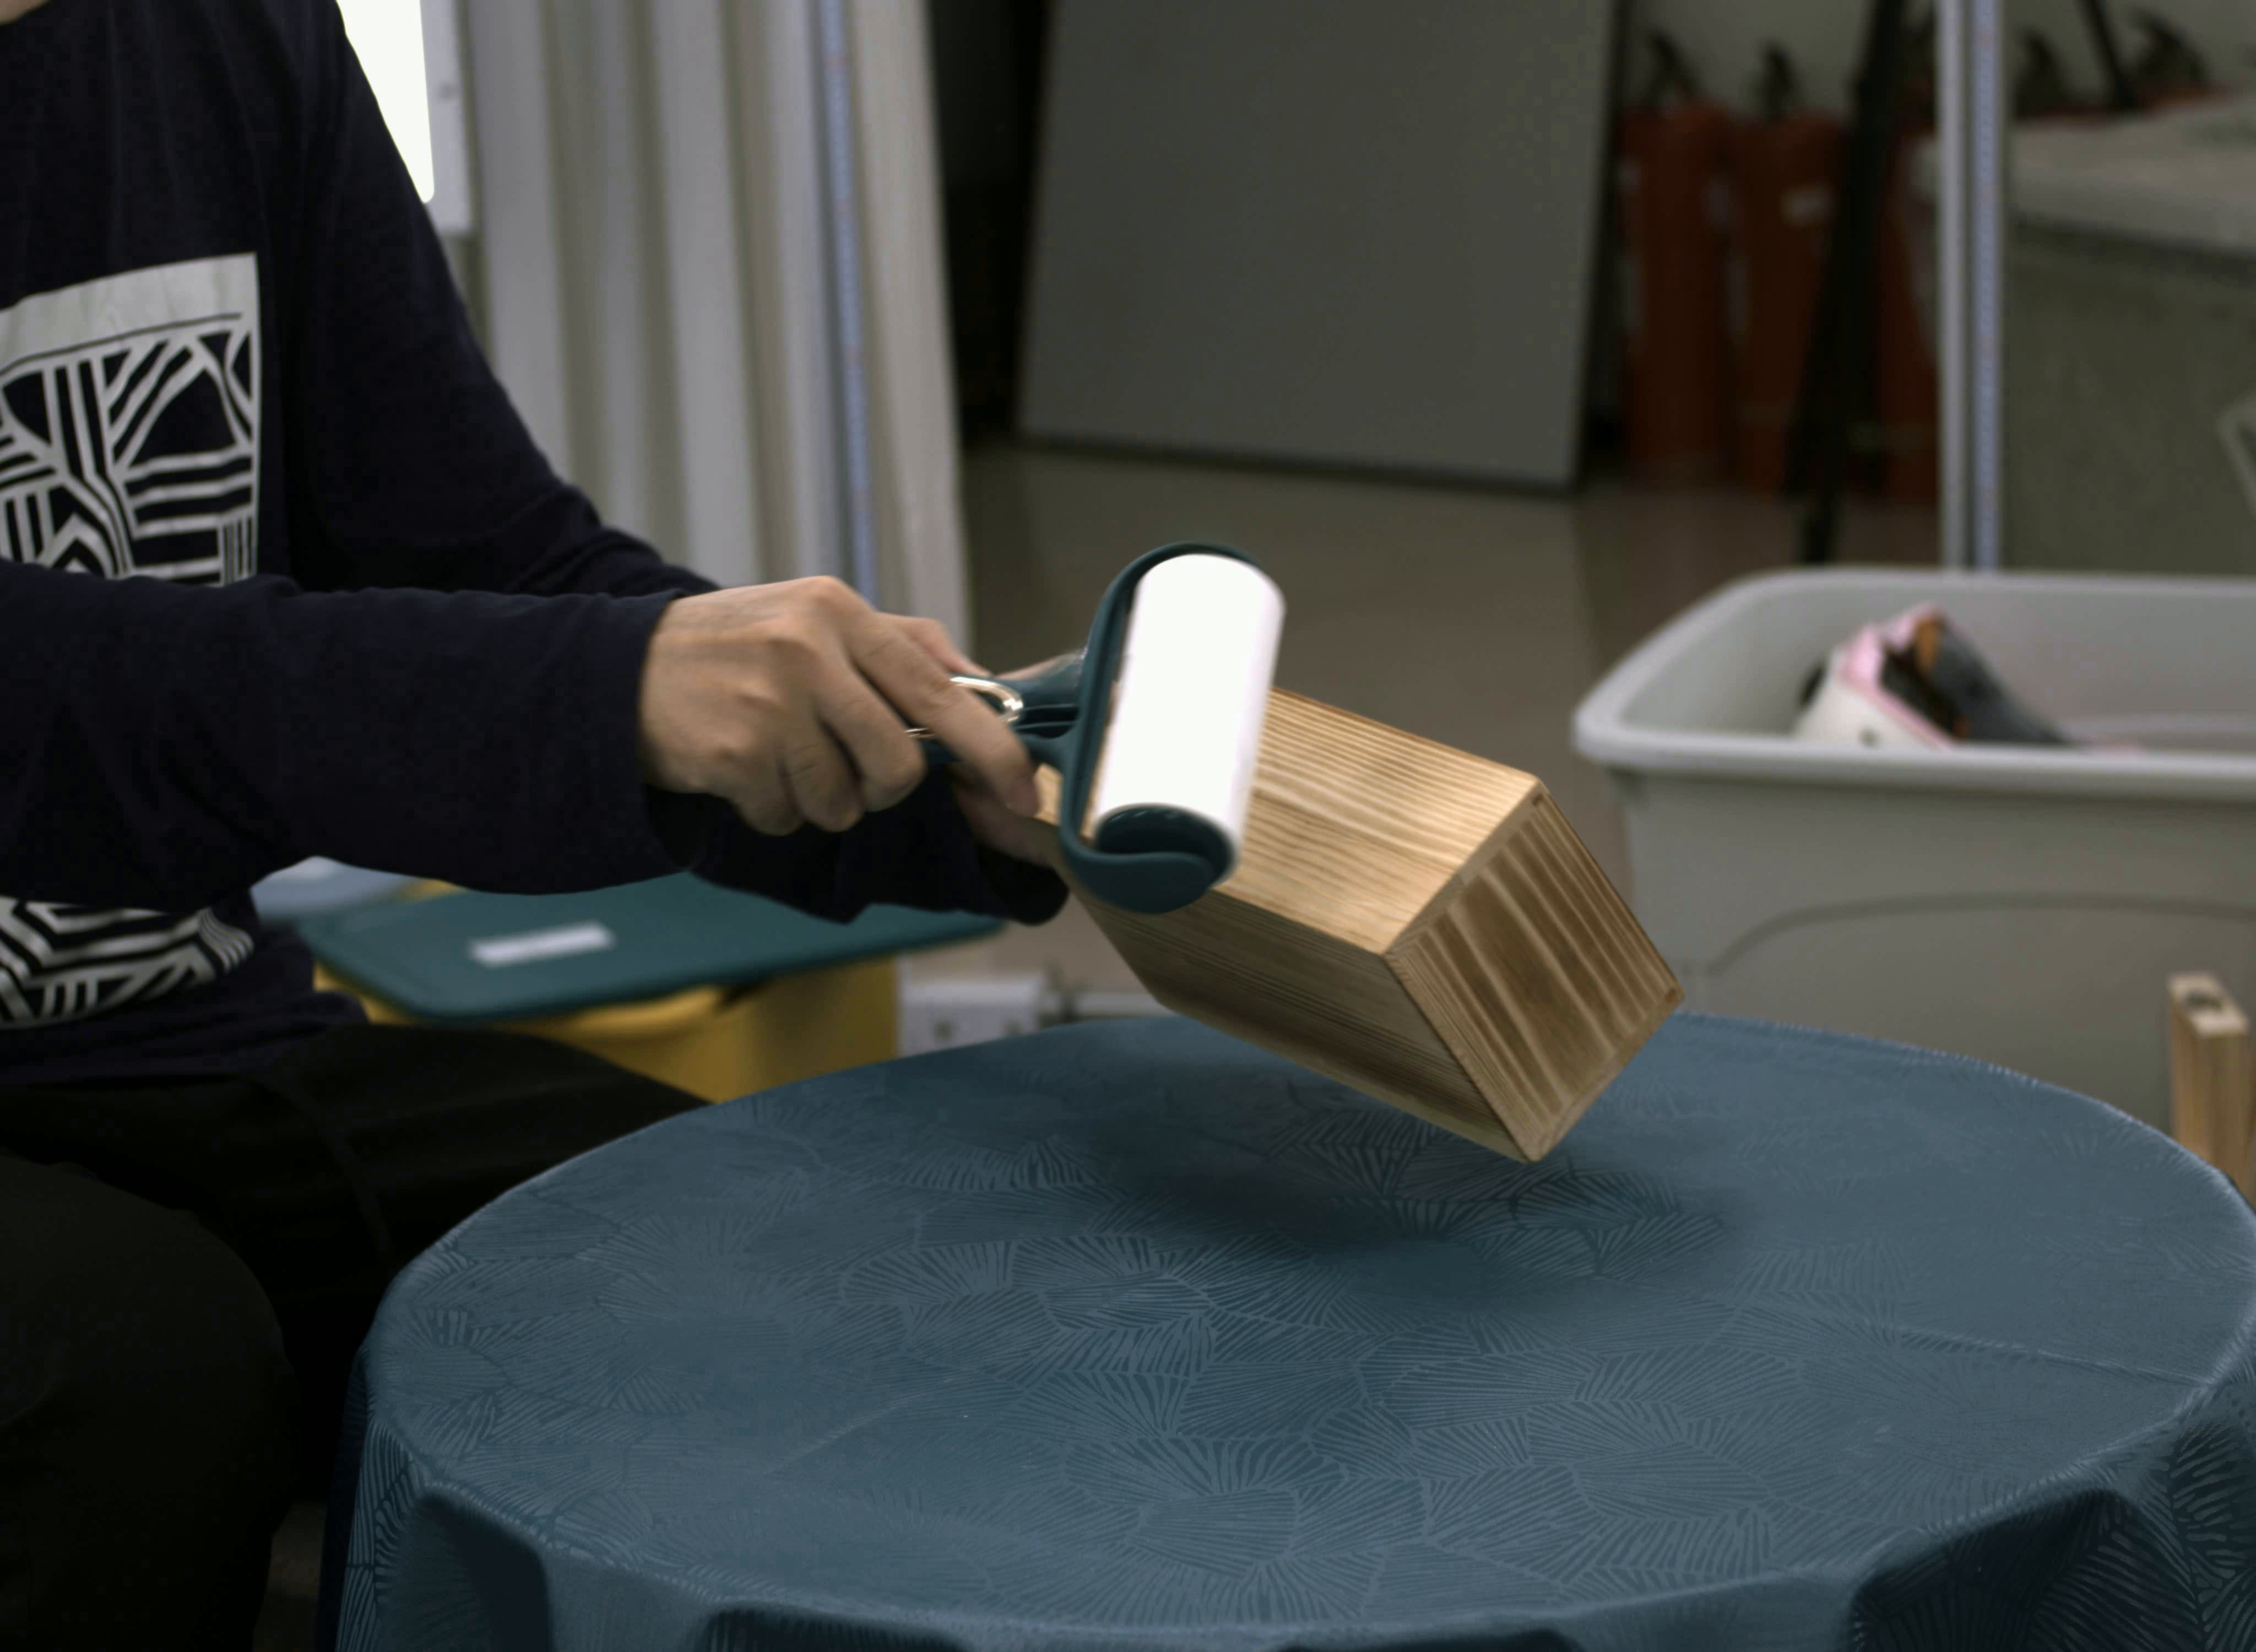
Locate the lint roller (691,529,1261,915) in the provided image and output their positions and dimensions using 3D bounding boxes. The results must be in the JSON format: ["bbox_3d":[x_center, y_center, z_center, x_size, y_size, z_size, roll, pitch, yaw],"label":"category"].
[{"bbox_3d":[-0.052,-0.037,1.687,0.179,0.048,0.135,4,52,10],"label":"lint roller"}]

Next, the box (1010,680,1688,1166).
[{"bbox_3d":[0.070,0.025,1.780,0.080,0.107,0.214,-48,35,-16],"label":"box"}]
